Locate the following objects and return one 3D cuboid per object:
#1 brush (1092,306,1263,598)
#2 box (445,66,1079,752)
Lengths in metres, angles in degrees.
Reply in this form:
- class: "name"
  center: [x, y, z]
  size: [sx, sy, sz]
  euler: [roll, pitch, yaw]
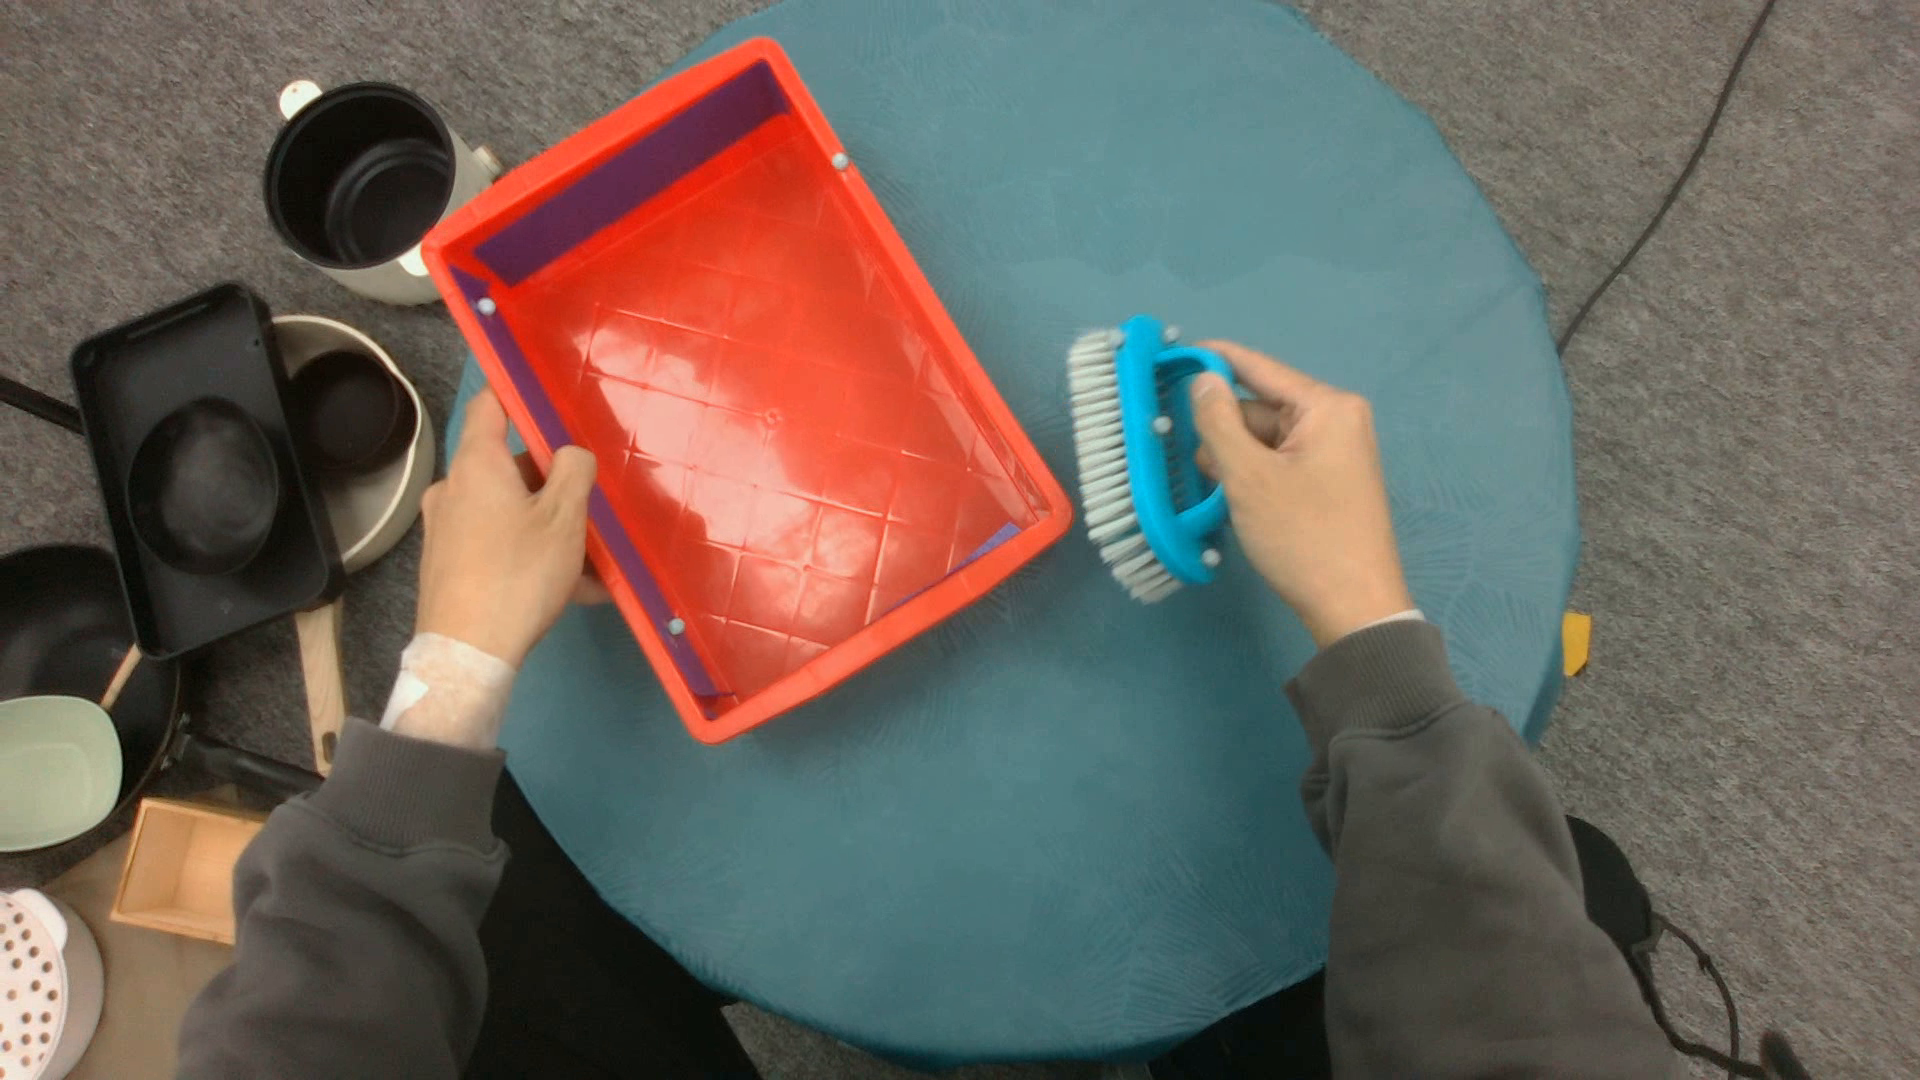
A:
- class: "brush"
  center: [0.109, -0.045, 0.646]
  size: [0.063, 0.084, 0.142]
  euler: [-17, 59, 35]
- class: "box"
  center: [-0.099, -0.064, 0.717]
  size: [0.206, 0.096, 0.304]
  euler: [-31, 78, -1]
